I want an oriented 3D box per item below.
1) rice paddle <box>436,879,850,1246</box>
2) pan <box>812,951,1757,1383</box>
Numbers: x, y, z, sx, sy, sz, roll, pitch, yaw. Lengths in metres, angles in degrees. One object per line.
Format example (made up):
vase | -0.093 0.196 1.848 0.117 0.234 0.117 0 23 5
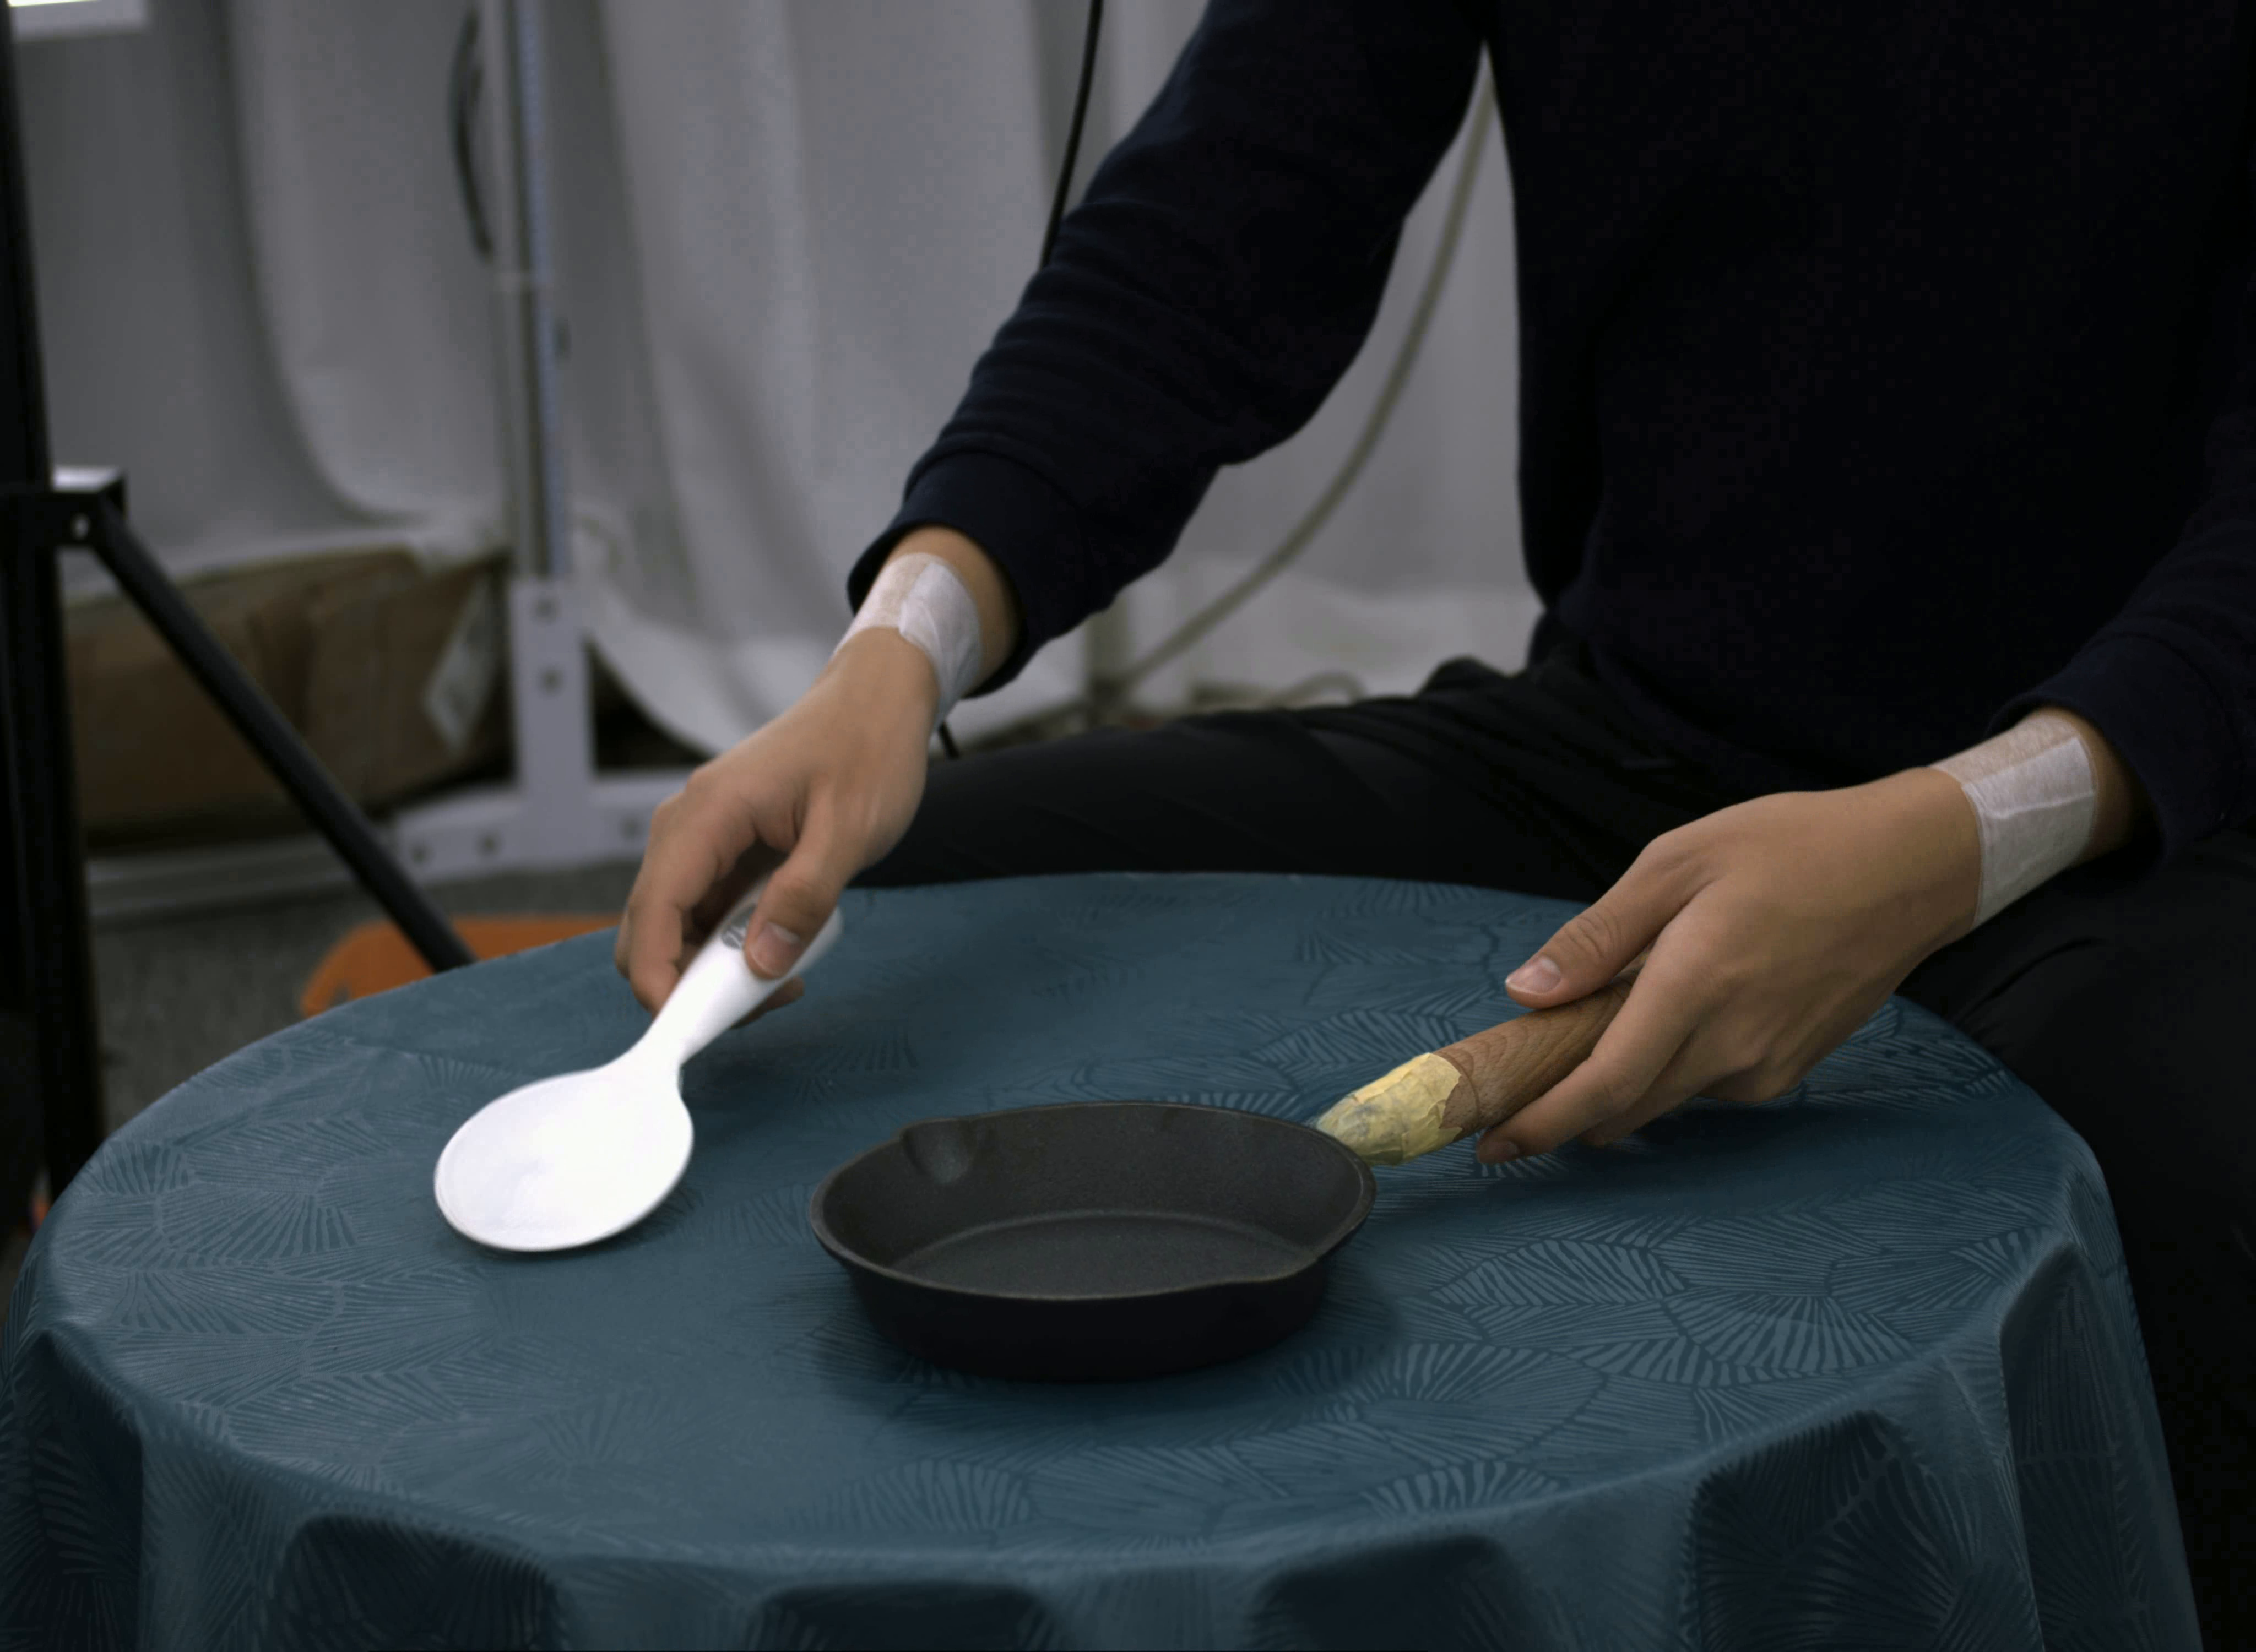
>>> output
rice paddle | -0.142 0.073 1.608 0.070 0.029 0.203 8 29 23
pan | 0.059 0.092 1.510 0.317 0.049 0.173 -15 19 -31
